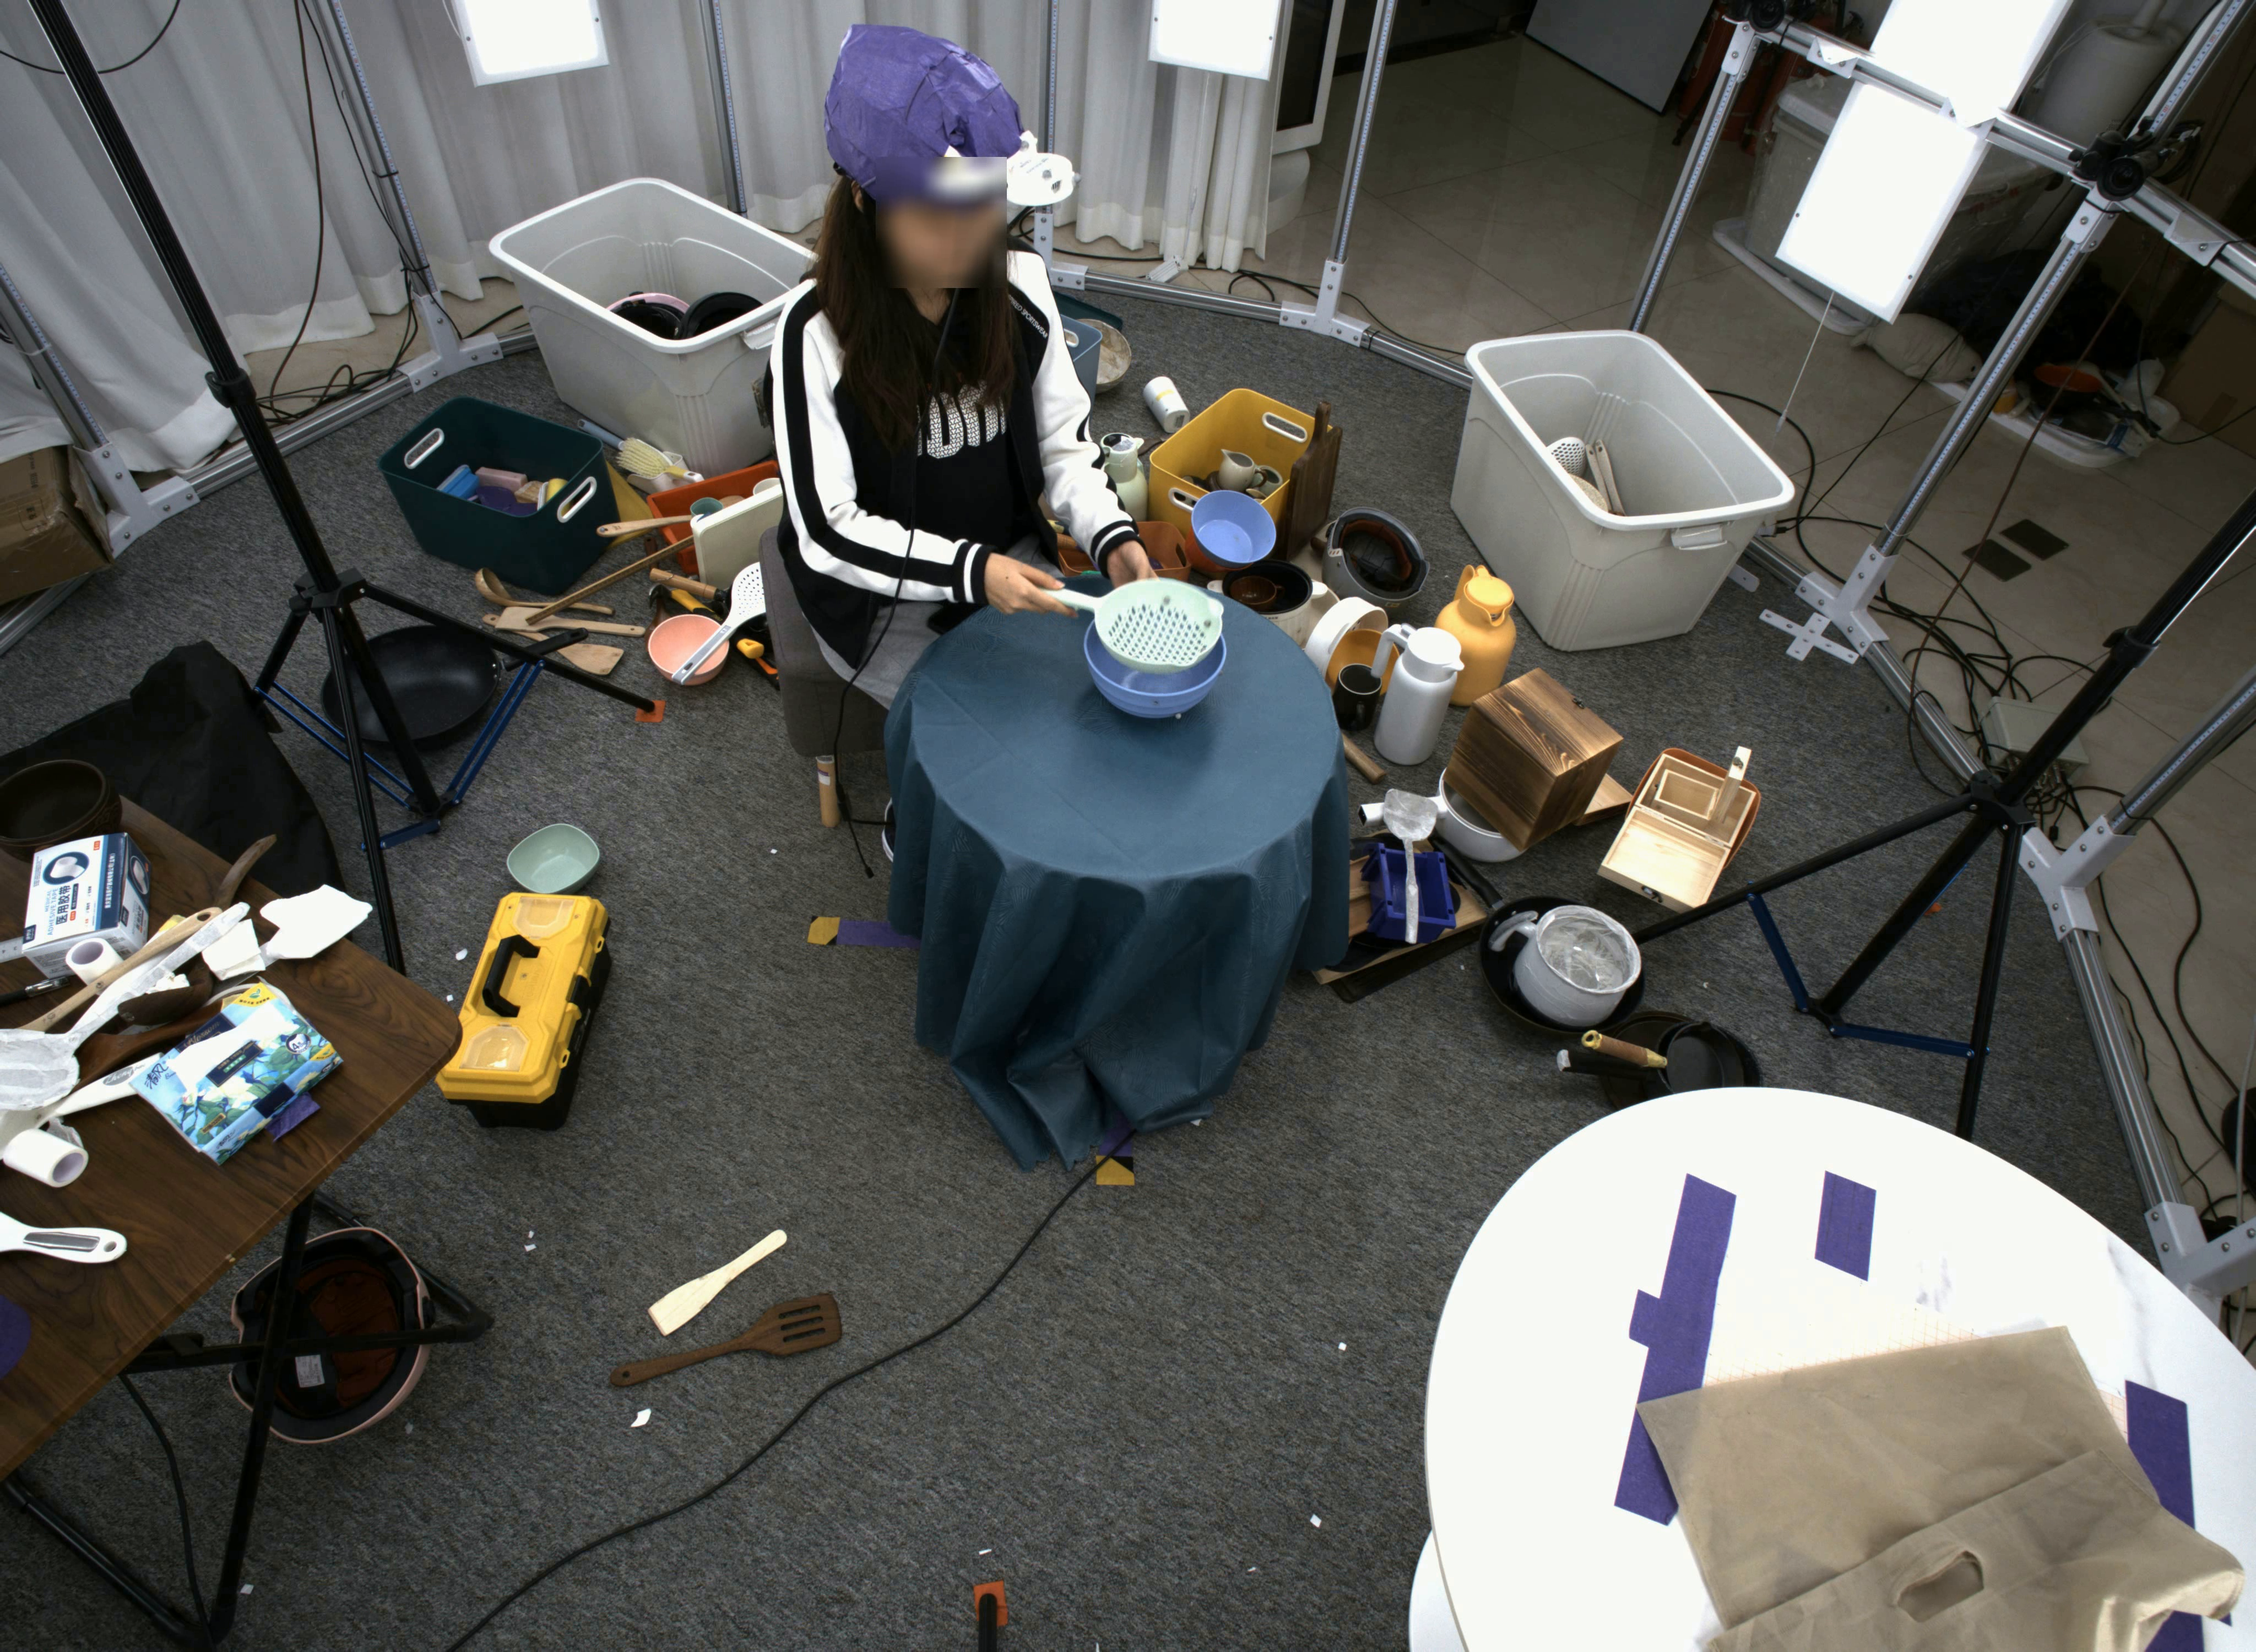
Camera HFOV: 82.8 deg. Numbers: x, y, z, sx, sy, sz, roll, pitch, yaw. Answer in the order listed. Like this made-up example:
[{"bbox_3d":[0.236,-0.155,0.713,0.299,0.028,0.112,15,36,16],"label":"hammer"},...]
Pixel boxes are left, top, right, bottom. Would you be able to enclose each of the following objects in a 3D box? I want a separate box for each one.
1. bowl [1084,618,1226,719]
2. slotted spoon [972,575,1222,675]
[{"bbox_3d":[0.035,-0.219,1.802,0.196,0.093,0.201,2,49,-2],"label":"bowl"},{"bbox_3d":[-0.050,-0.295,1.761,0.360,0.073,0.172,23,46,9],"label":"slotted spoon"}]
